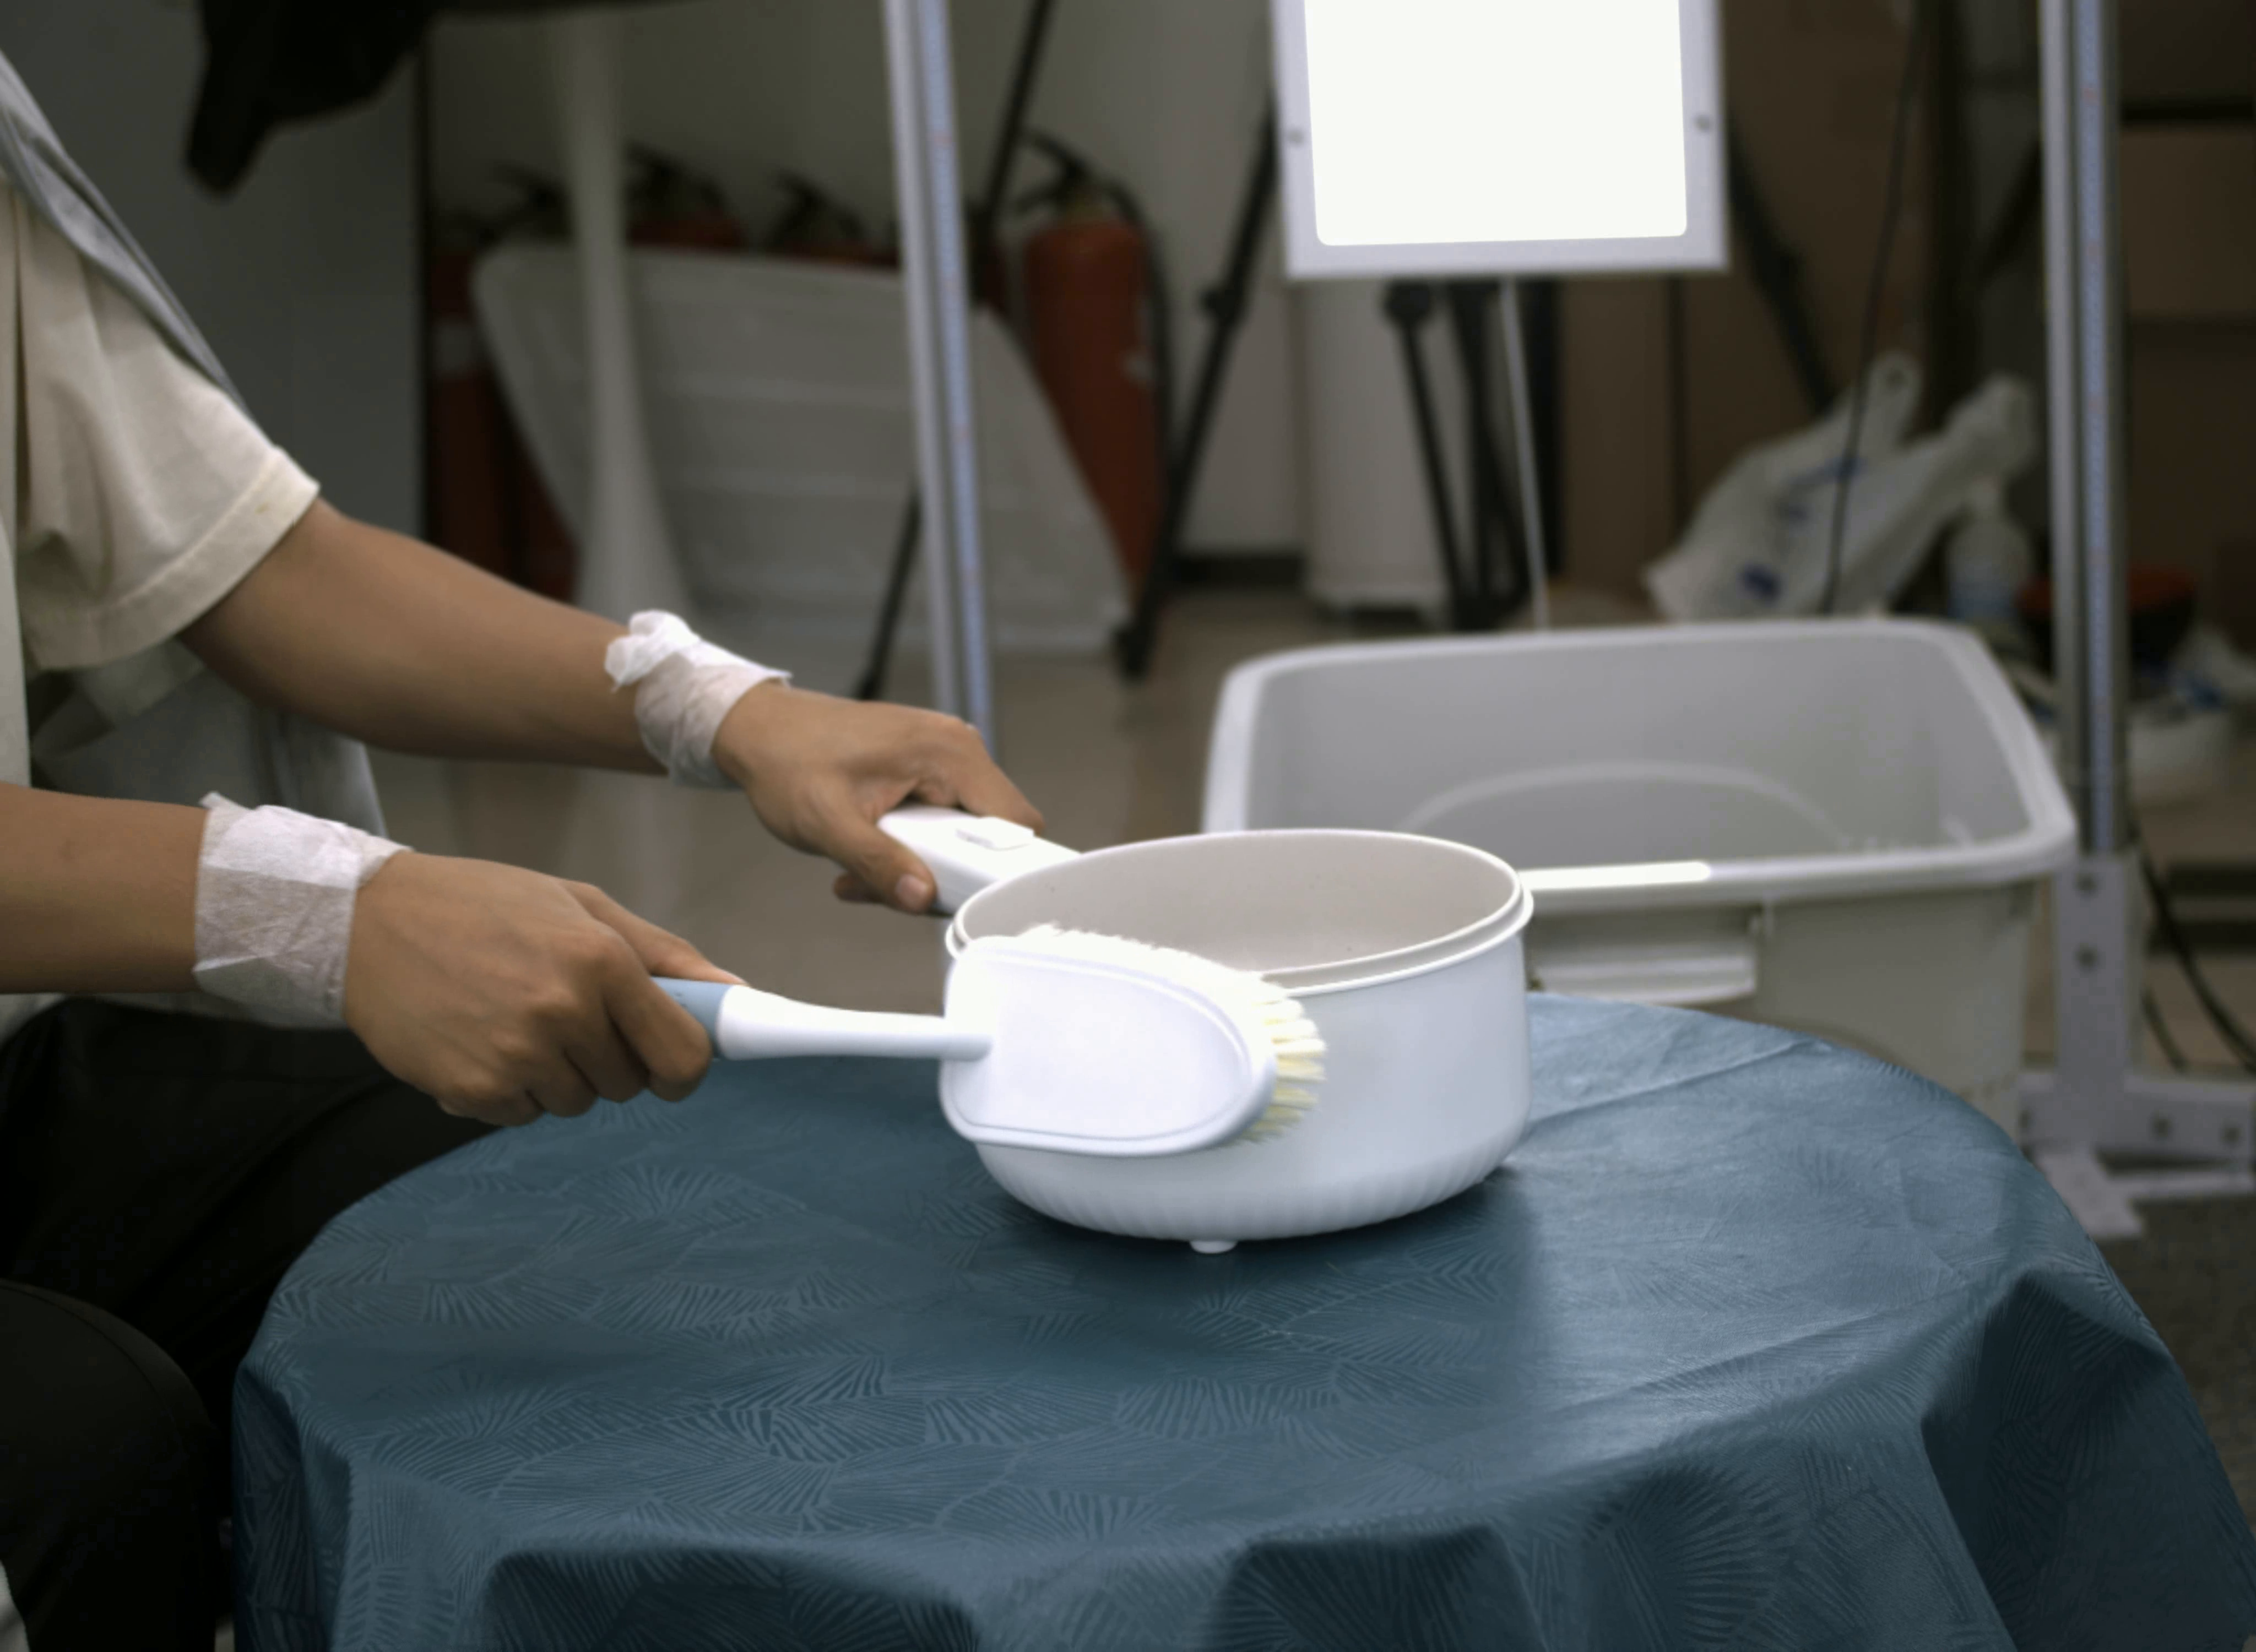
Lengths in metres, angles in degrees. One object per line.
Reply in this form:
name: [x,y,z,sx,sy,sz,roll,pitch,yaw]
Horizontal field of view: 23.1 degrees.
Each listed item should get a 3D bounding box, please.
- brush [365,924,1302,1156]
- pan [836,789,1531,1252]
brush: [-0.094,0.060,1.804,0.330,0.084,0.082,4,56,23]
pan: [-0.001,0.062,1.948,0.196,0.102,0.361,-12,15,-30]
